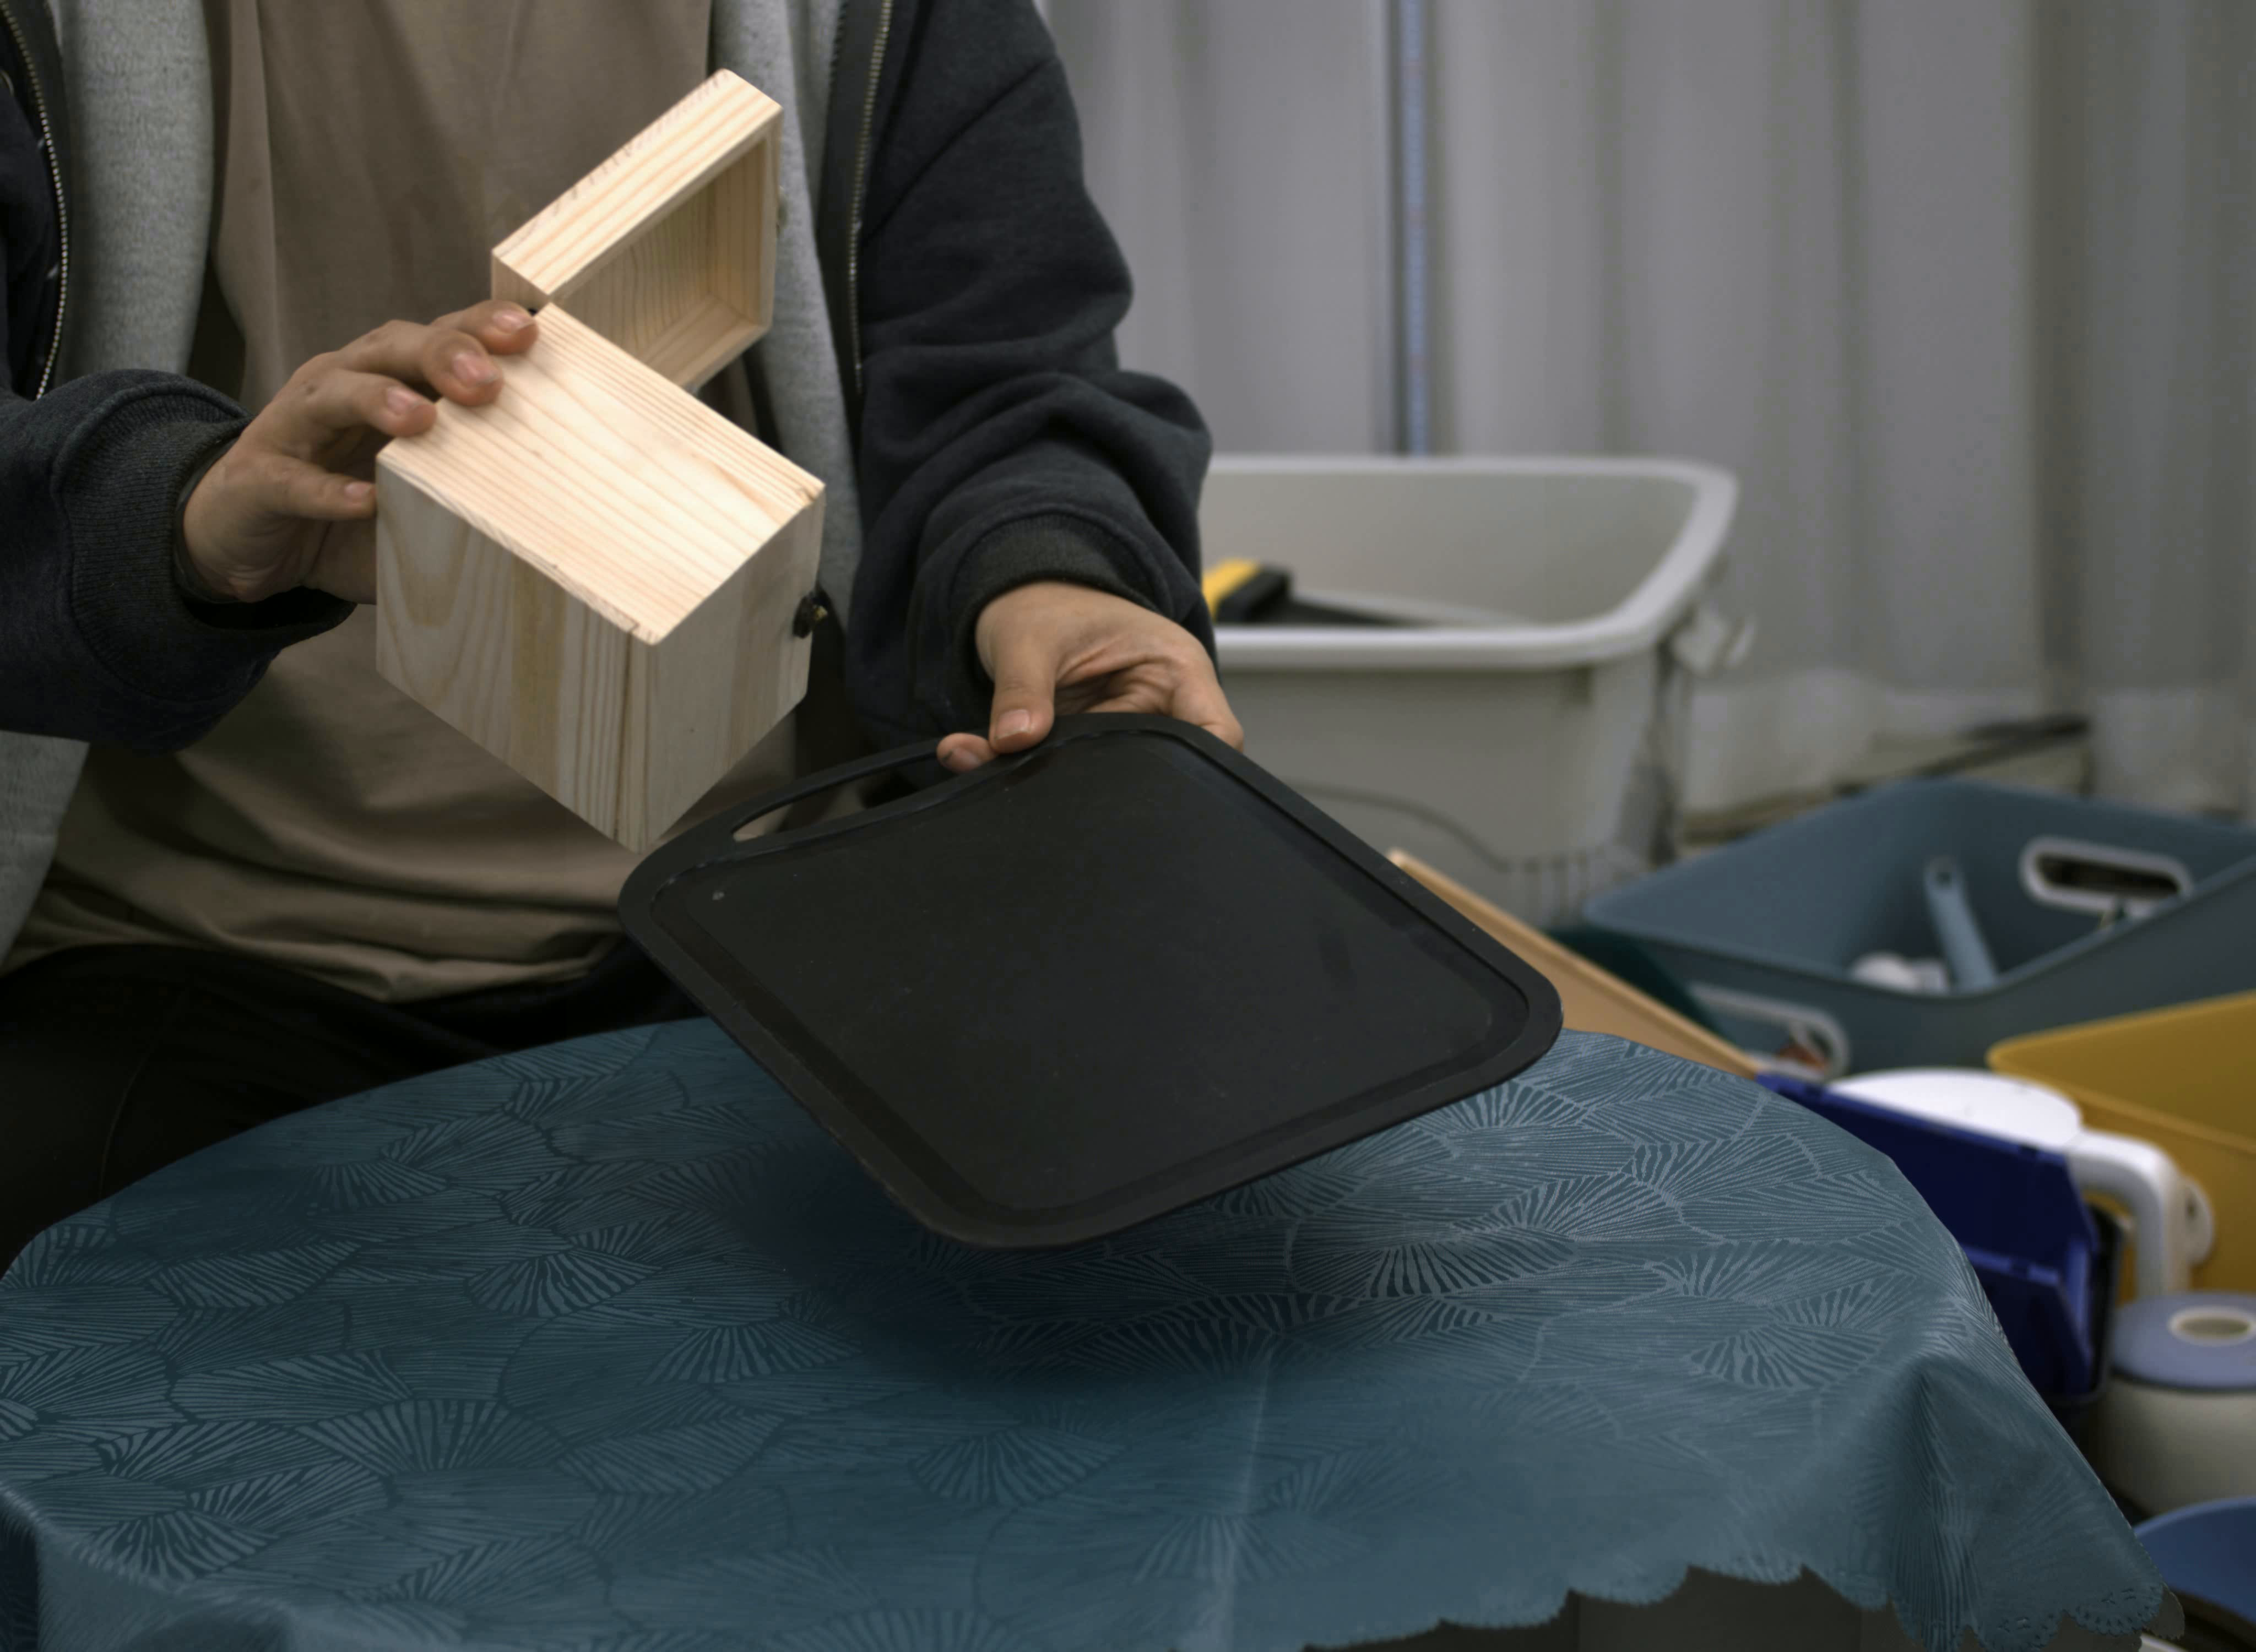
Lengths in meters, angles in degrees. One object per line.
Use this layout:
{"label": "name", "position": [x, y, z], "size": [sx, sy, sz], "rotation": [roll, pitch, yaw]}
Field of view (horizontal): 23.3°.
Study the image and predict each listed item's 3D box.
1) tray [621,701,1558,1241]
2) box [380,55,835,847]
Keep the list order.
{"label": "tray", "position": [-0.023, 0.034, 1.686], "size": [0.210, 0.010, 0.329], "rotation": [-19, 29, -20]}
{"label": "box", "position": [-0.127, -0.111, 1.599], "size": [0.134, 0.101, 0.185], "rotation": [32, 59, 16]}
